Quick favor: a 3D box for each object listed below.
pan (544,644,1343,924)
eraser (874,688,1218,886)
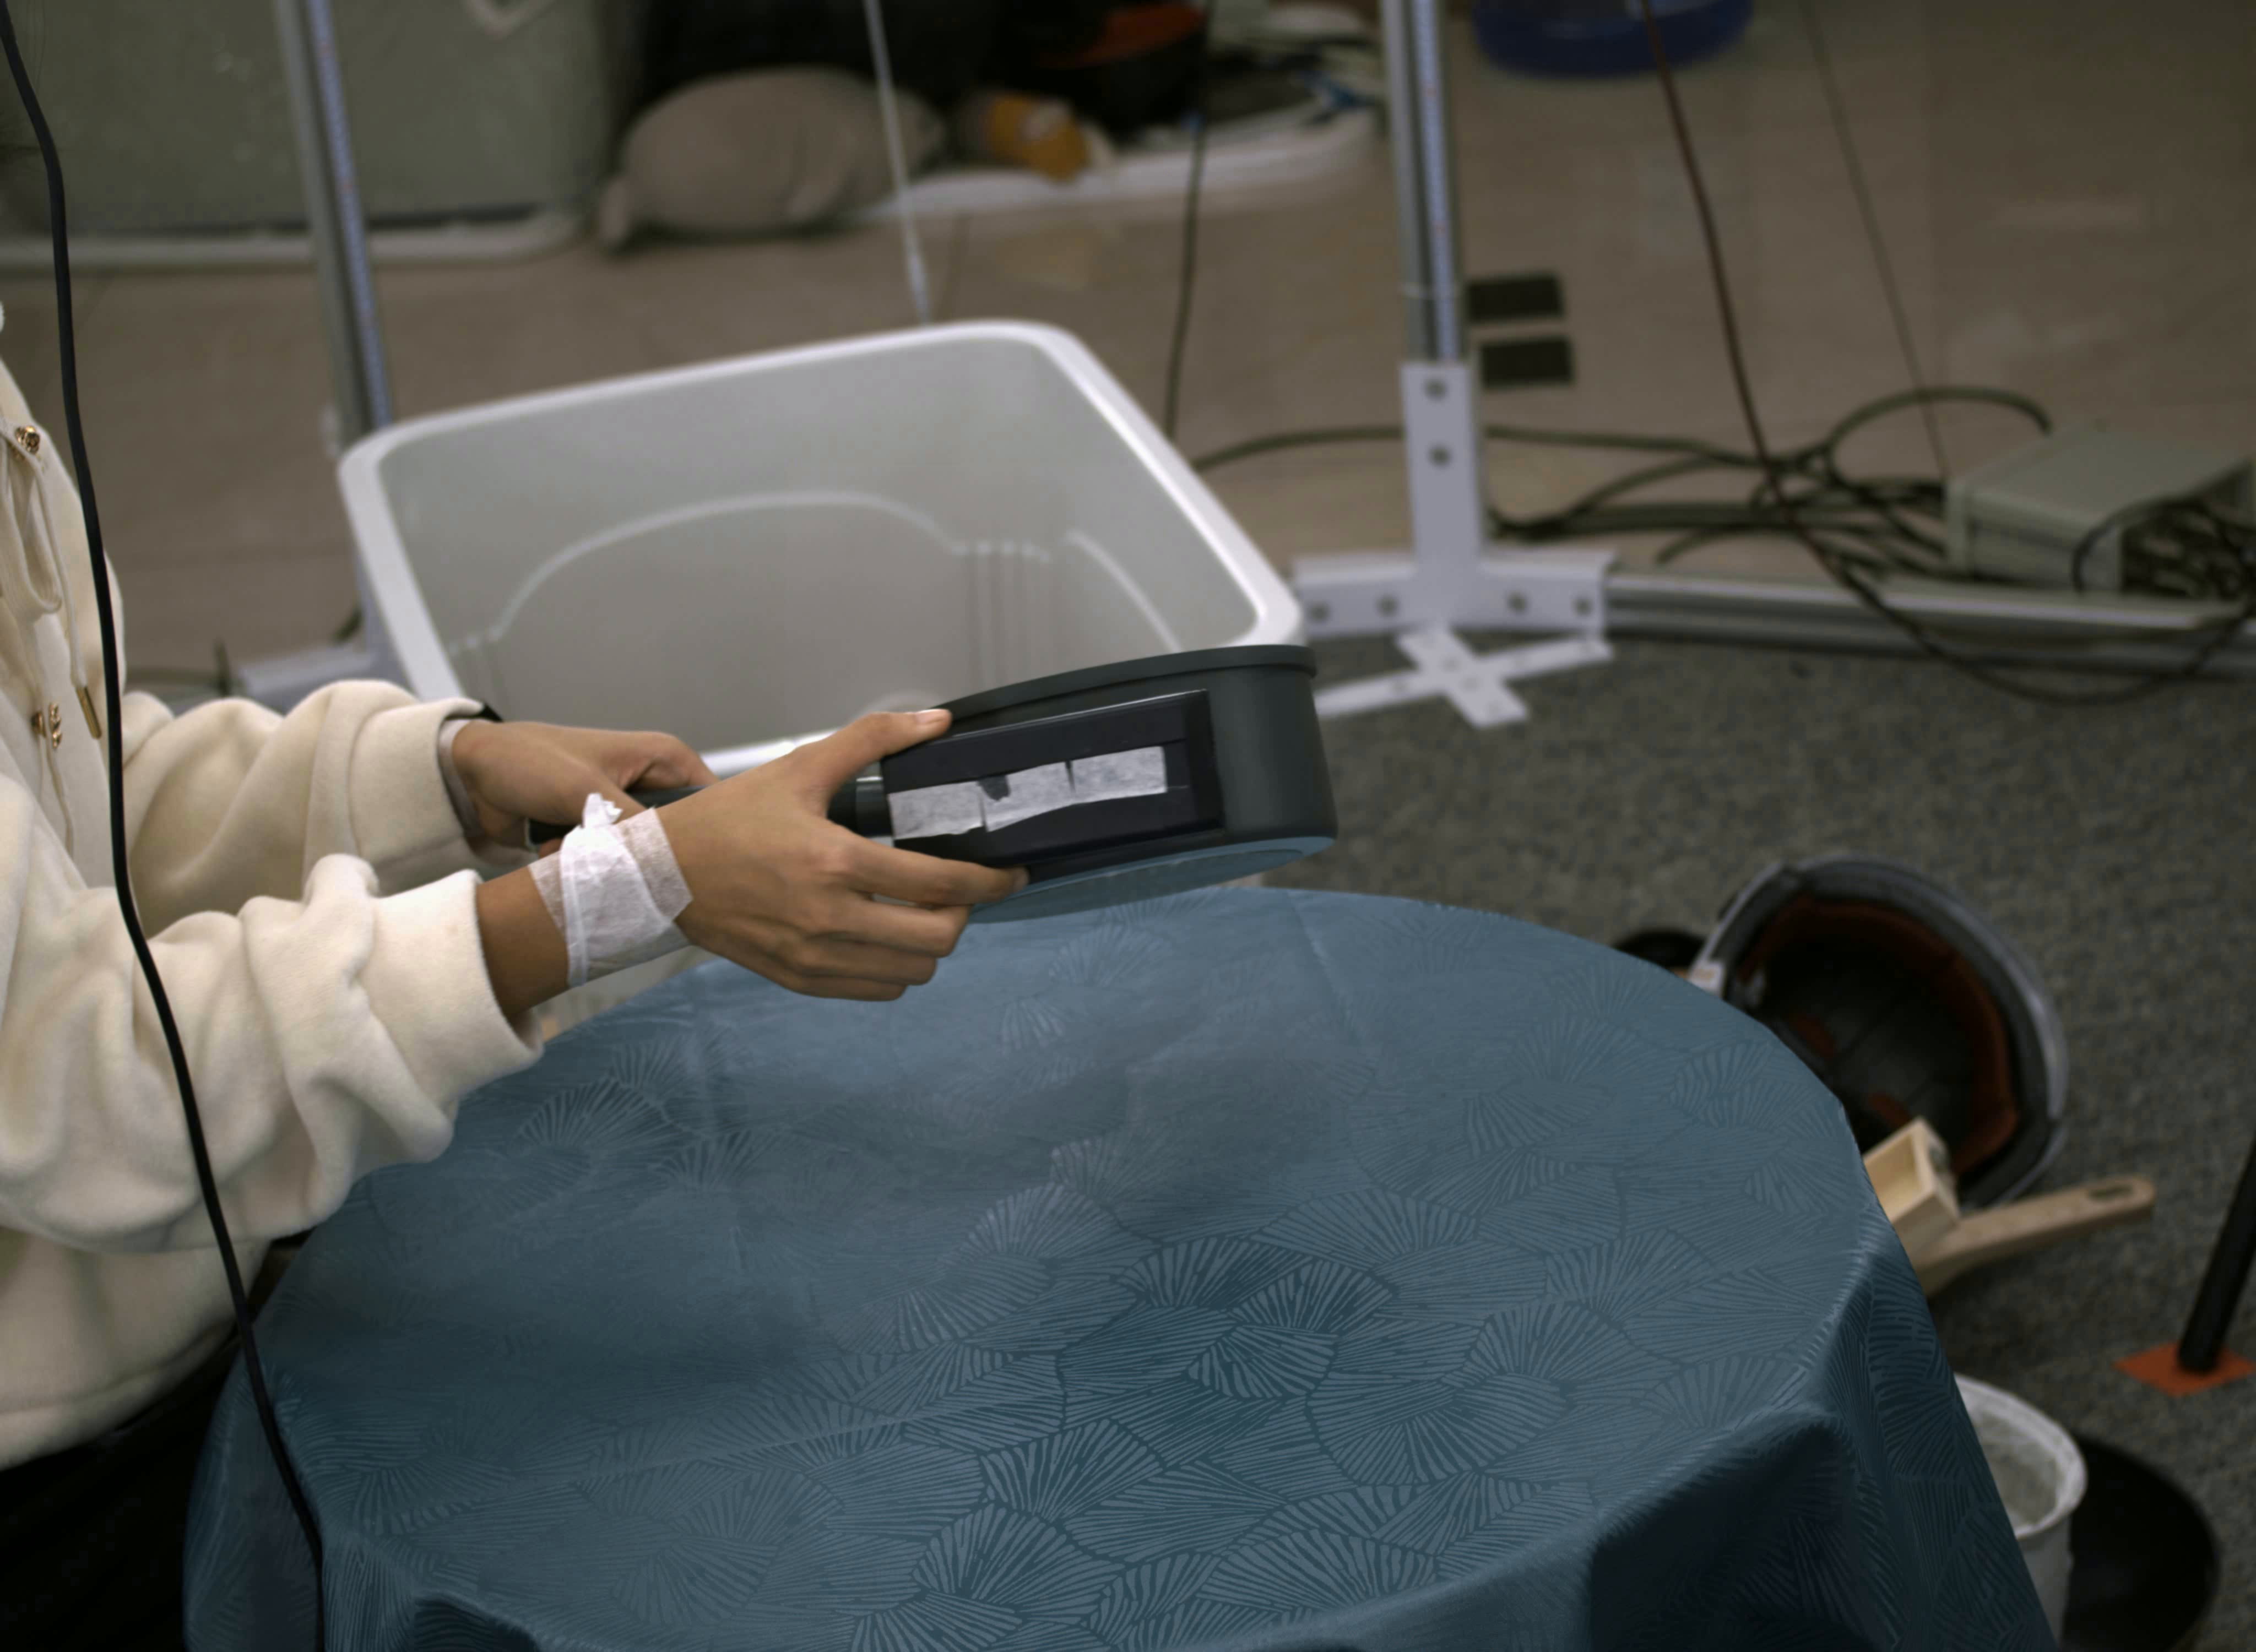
[{"bbox_3d":[-0.076,0.000,2.181,0.329,0.086,0.172,-12,-6,24],"label":"pan"},{"bbox_3d":[-0.030,-0.014,2.056,0.125,0.053,0.030,-10,-1,24],"label":"eraser"}]
